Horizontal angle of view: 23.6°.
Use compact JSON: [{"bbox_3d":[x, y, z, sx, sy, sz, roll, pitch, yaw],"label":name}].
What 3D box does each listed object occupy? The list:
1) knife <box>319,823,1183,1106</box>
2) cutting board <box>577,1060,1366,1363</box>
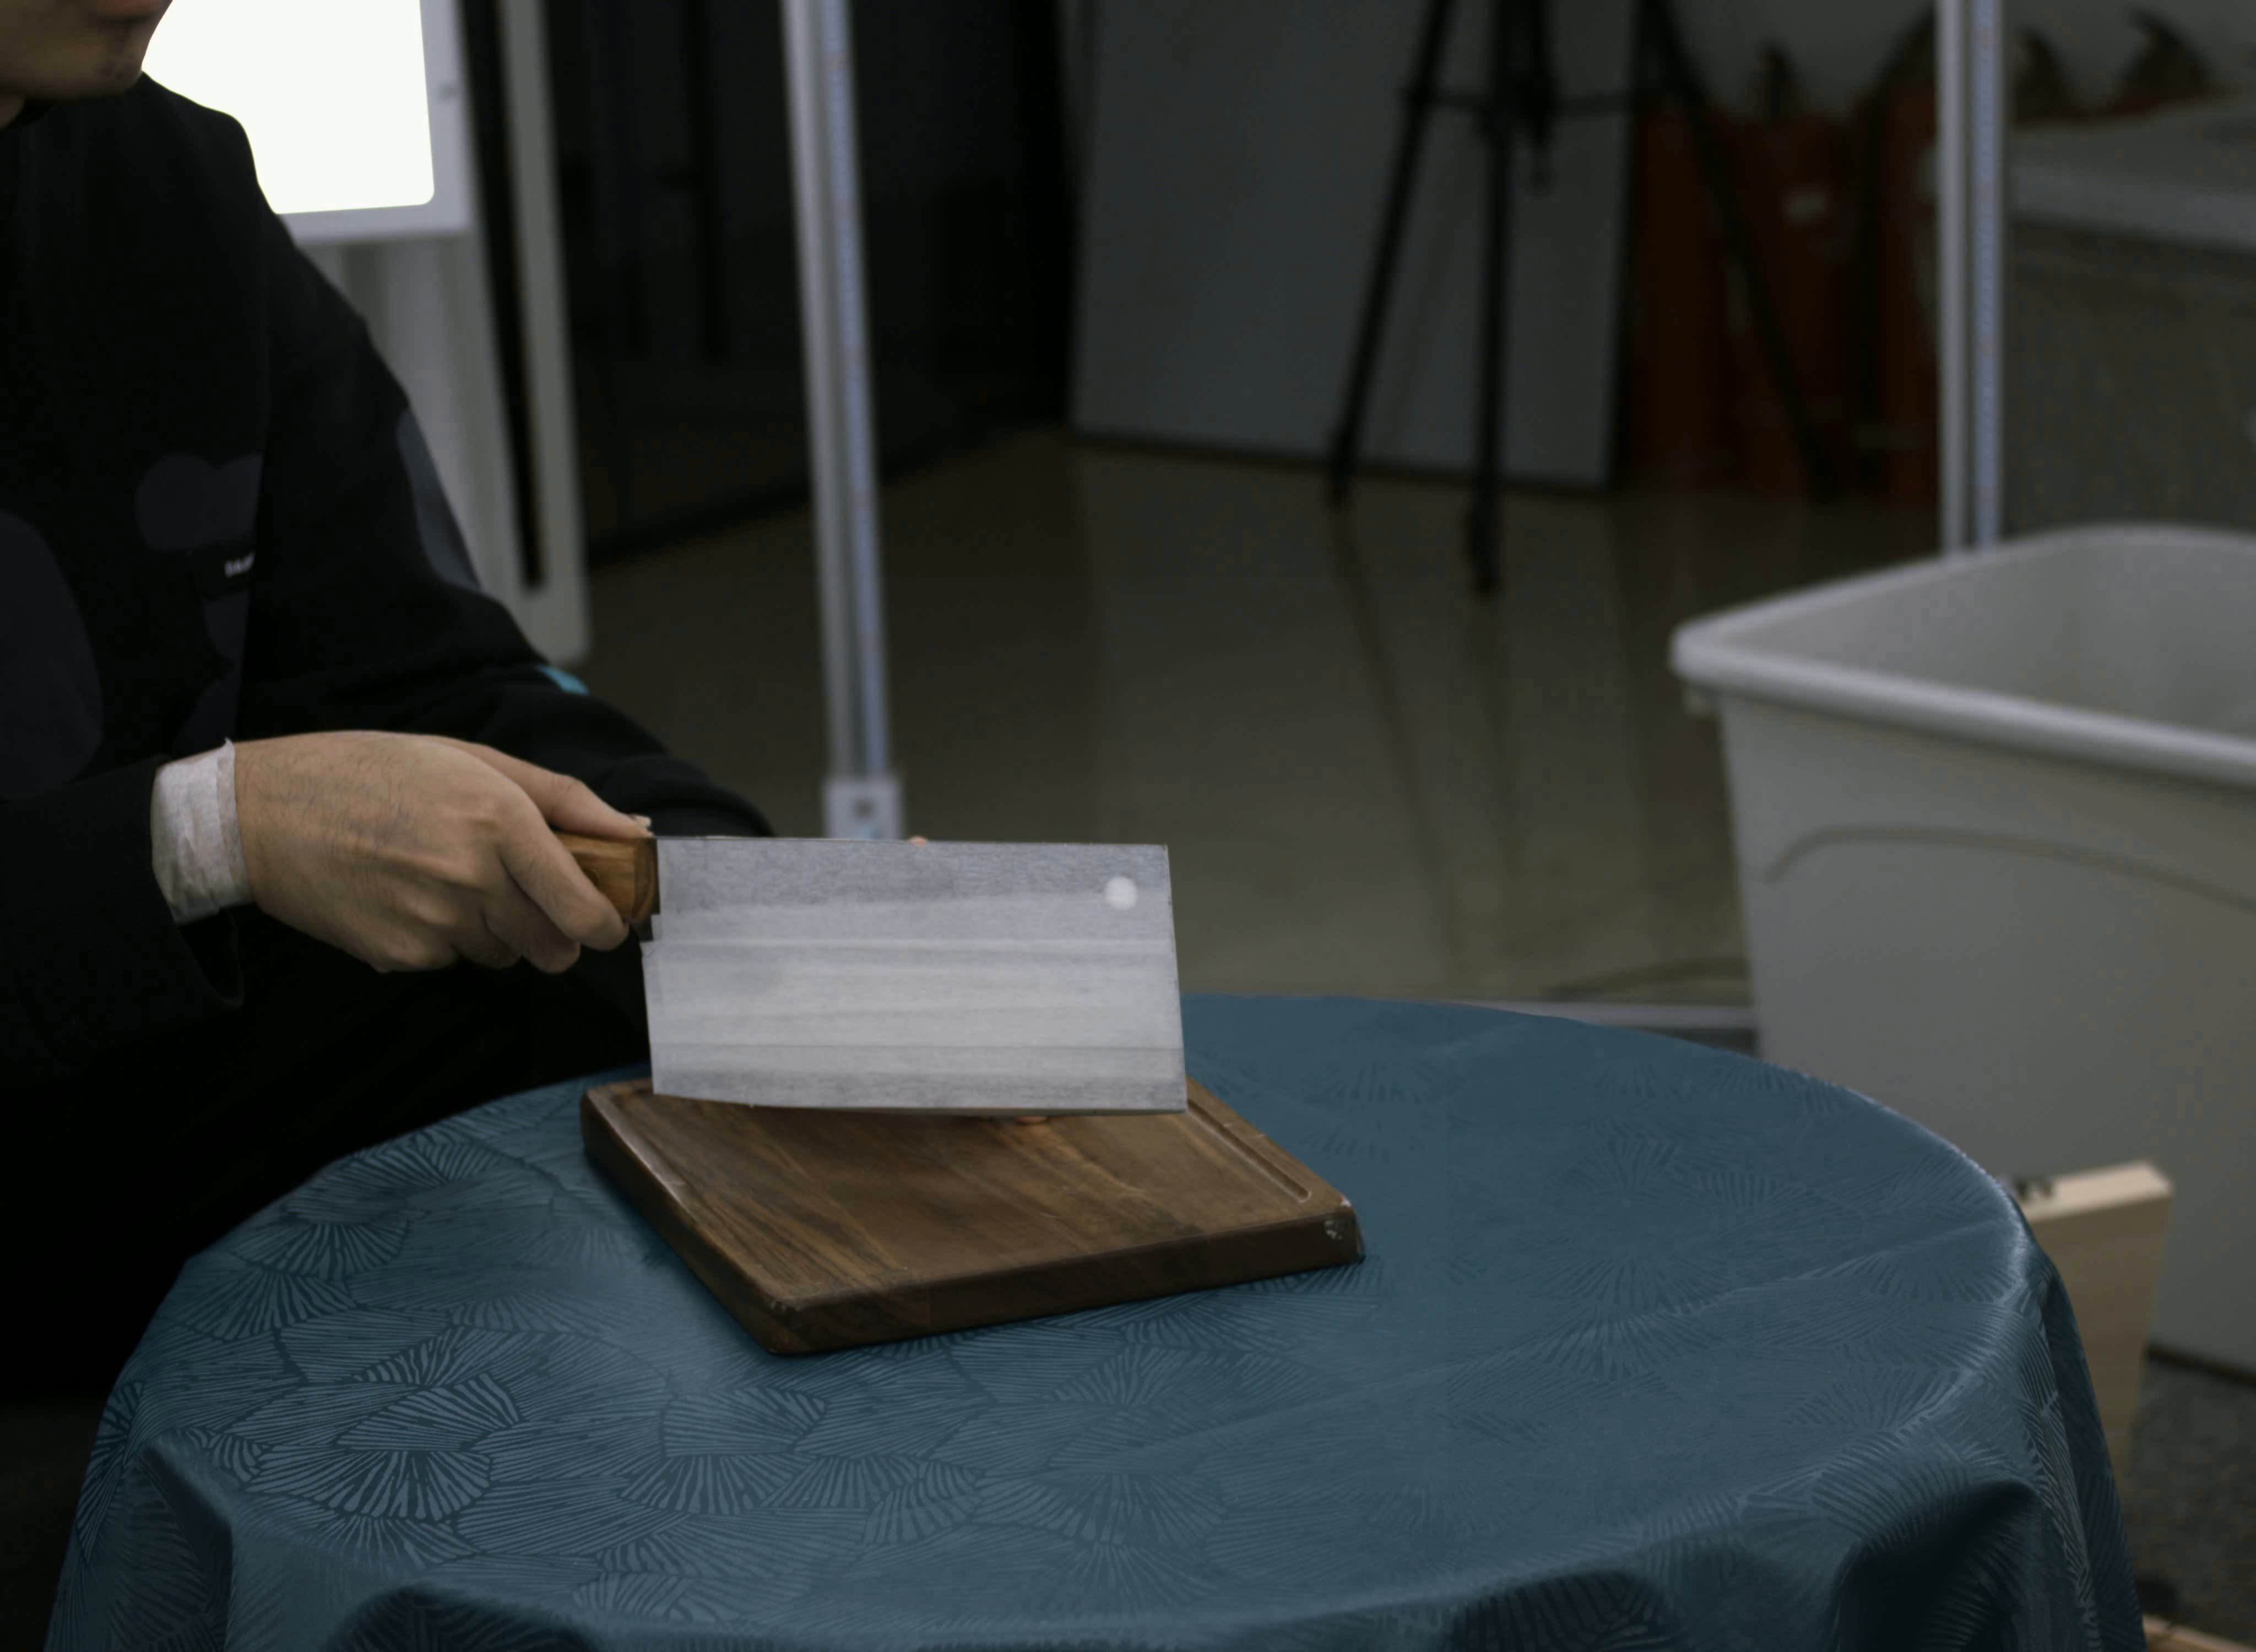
[{"bbox_3d":[-0.124,0.045,1.754,0.306,0.094,0.021,0,14,23],"label":"knife"},{"bbox_3d":[-0.073,0.105,1.814,0.197,0.023,0.355,-8,14,-18],"label":"cutting board"}]
